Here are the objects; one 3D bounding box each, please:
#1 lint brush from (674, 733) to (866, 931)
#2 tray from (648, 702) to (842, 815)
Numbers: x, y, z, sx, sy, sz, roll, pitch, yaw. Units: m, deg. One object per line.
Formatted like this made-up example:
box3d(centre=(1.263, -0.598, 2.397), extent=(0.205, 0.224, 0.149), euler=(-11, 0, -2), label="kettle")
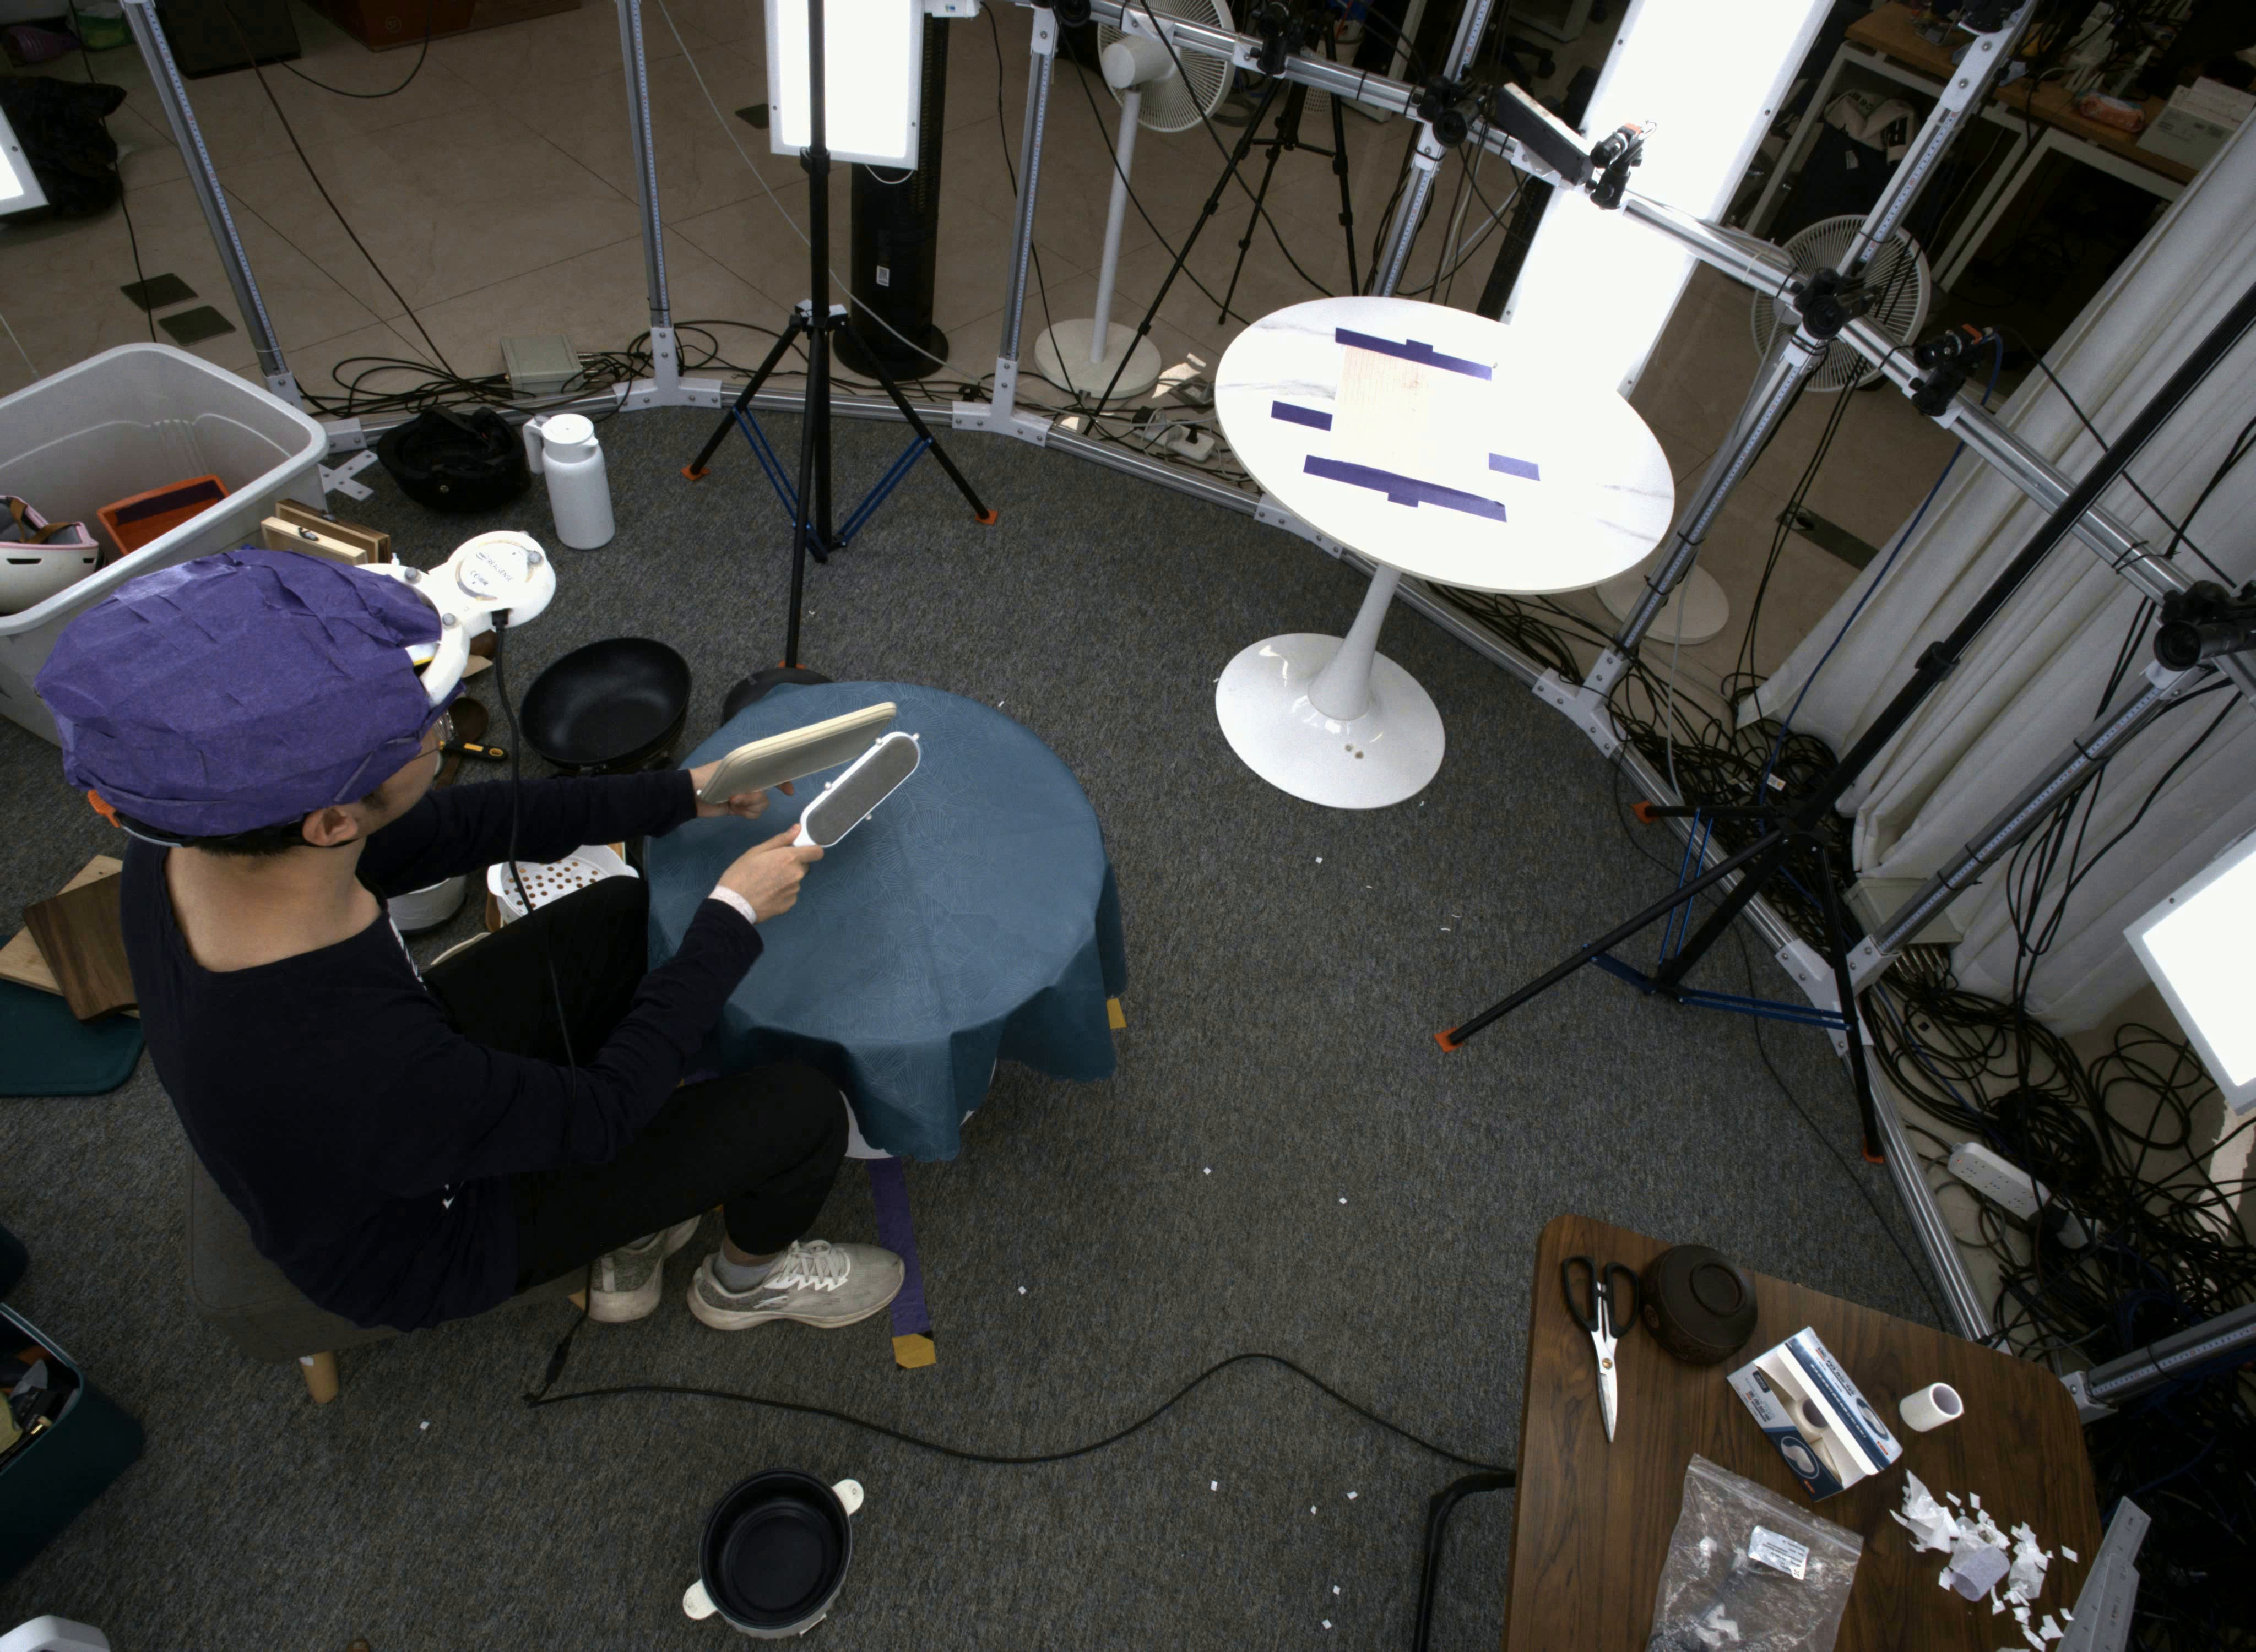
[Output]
box3d(centre=(-0.416, 0.003, 1.508), extent=(0.020, 0.062, 0.308), euler=(15, 55, 42), label="lint brush")
box3d(centre=(-0.471, -0.082, 1.597), extent=(0.241, 0.169, 0.017), euler=(-26, 84, -39), label="tray")
